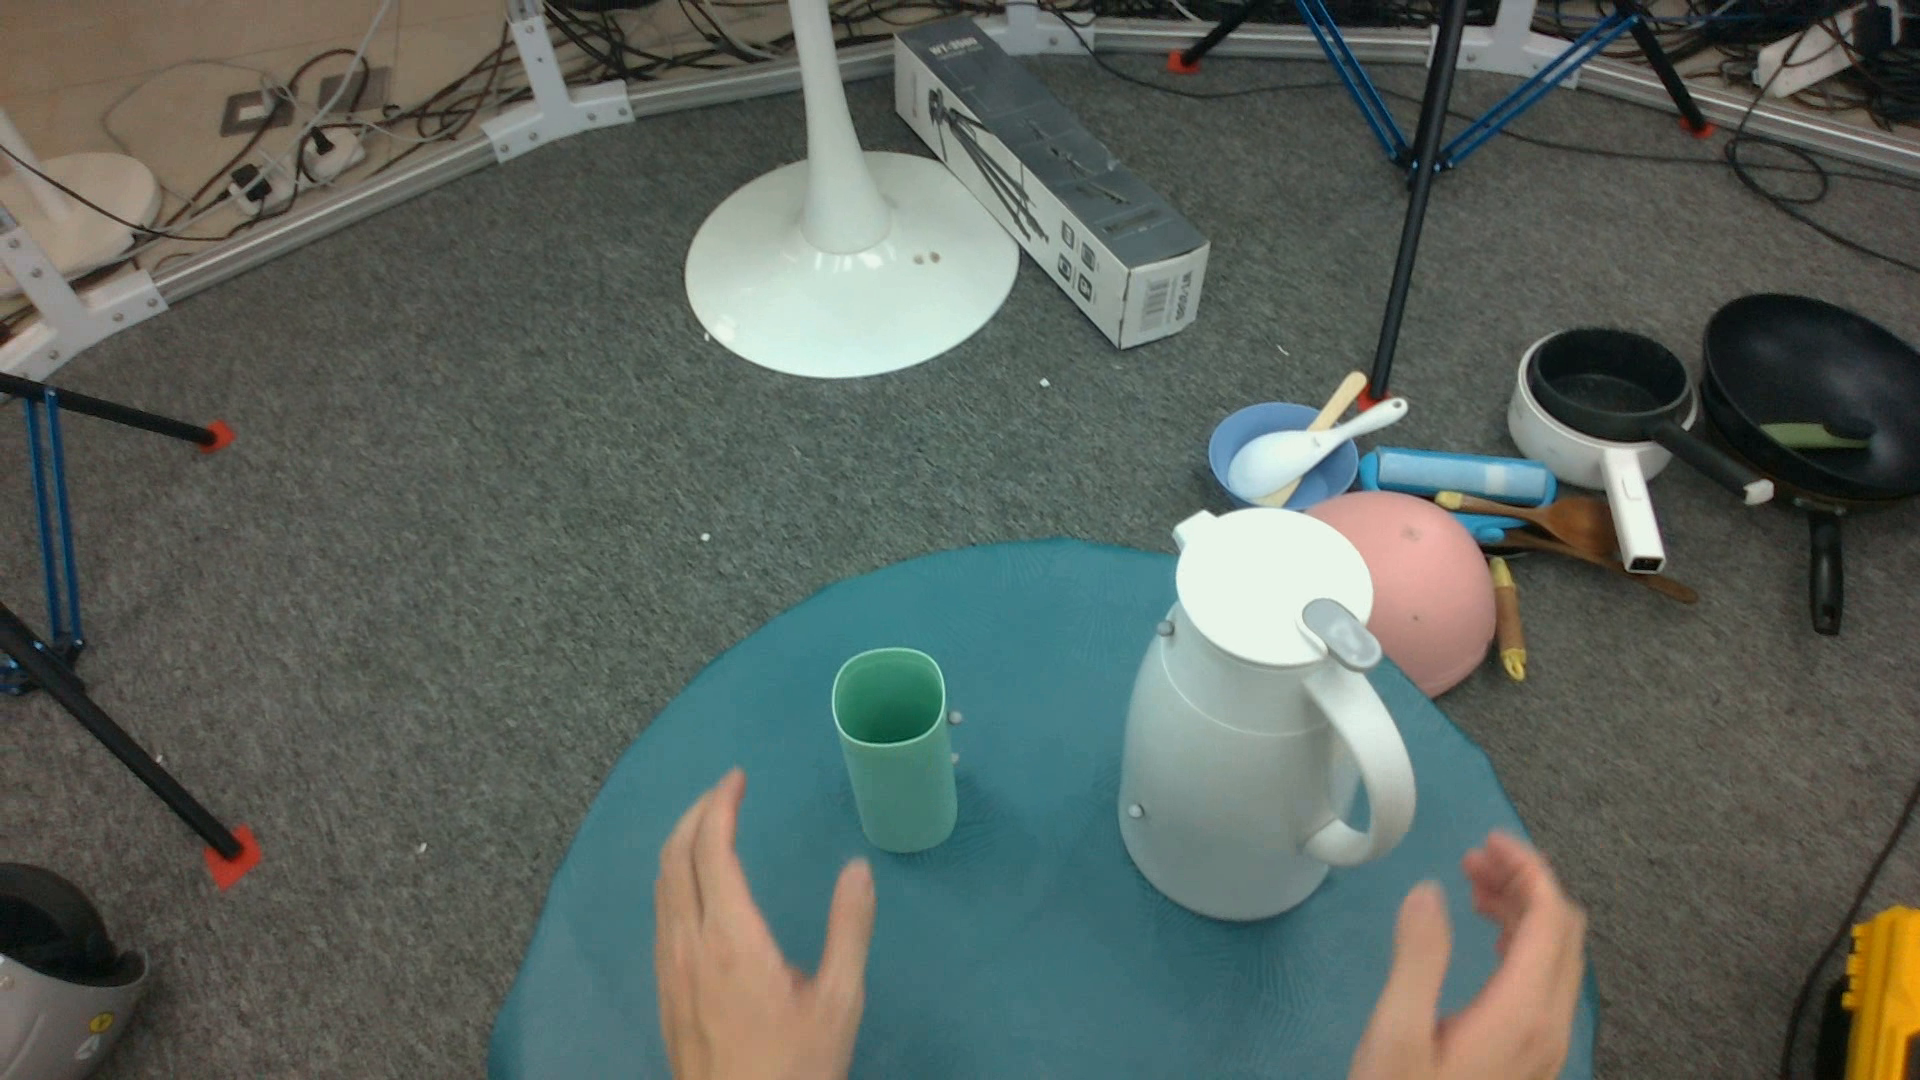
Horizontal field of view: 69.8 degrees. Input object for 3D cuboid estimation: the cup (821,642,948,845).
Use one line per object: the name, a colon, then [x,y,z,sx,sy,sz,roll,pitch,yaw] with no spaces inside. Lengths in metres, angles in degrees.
cup: [-0.041,0.123,0.804,0.067,0.132,0.067,-2,52,2]

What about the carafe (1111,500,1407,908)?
carafe: [0.163,0.098,0.733,0.133,0.247,0.168,-30,56,-19]
